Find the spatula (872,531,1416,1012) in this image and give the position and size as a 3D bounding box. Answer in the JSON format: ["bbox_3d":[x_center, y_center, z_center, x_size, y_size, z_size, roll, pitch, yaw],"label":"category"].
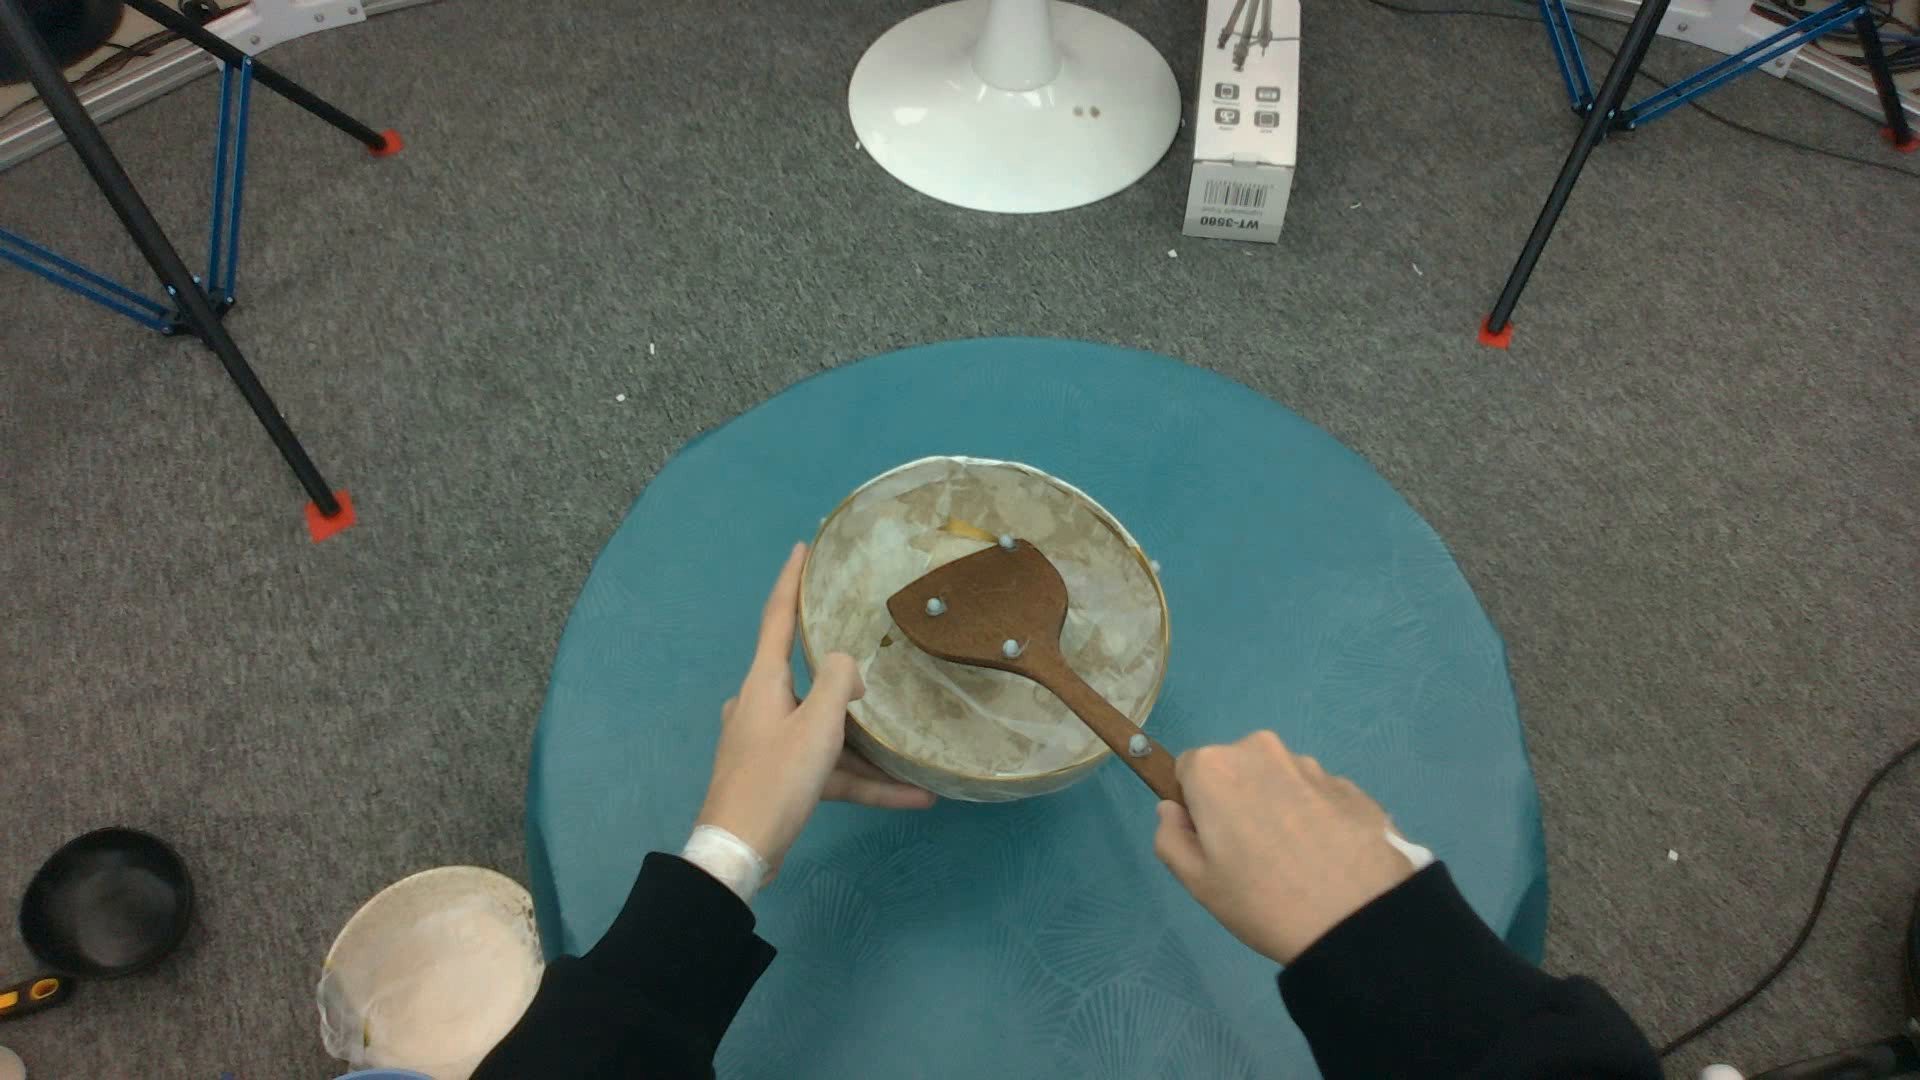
[{"bbox_3d":[0.070,0.086,0.636,0.096,0.016,0.386,-24,32,-17],"label":"spatula"}]

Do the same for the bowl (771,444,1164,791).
[{"bbox_3d":[-0.003,0.056,0.755,0.215,0.094,0.215,7,55,-10],"label":"bowl"}]
